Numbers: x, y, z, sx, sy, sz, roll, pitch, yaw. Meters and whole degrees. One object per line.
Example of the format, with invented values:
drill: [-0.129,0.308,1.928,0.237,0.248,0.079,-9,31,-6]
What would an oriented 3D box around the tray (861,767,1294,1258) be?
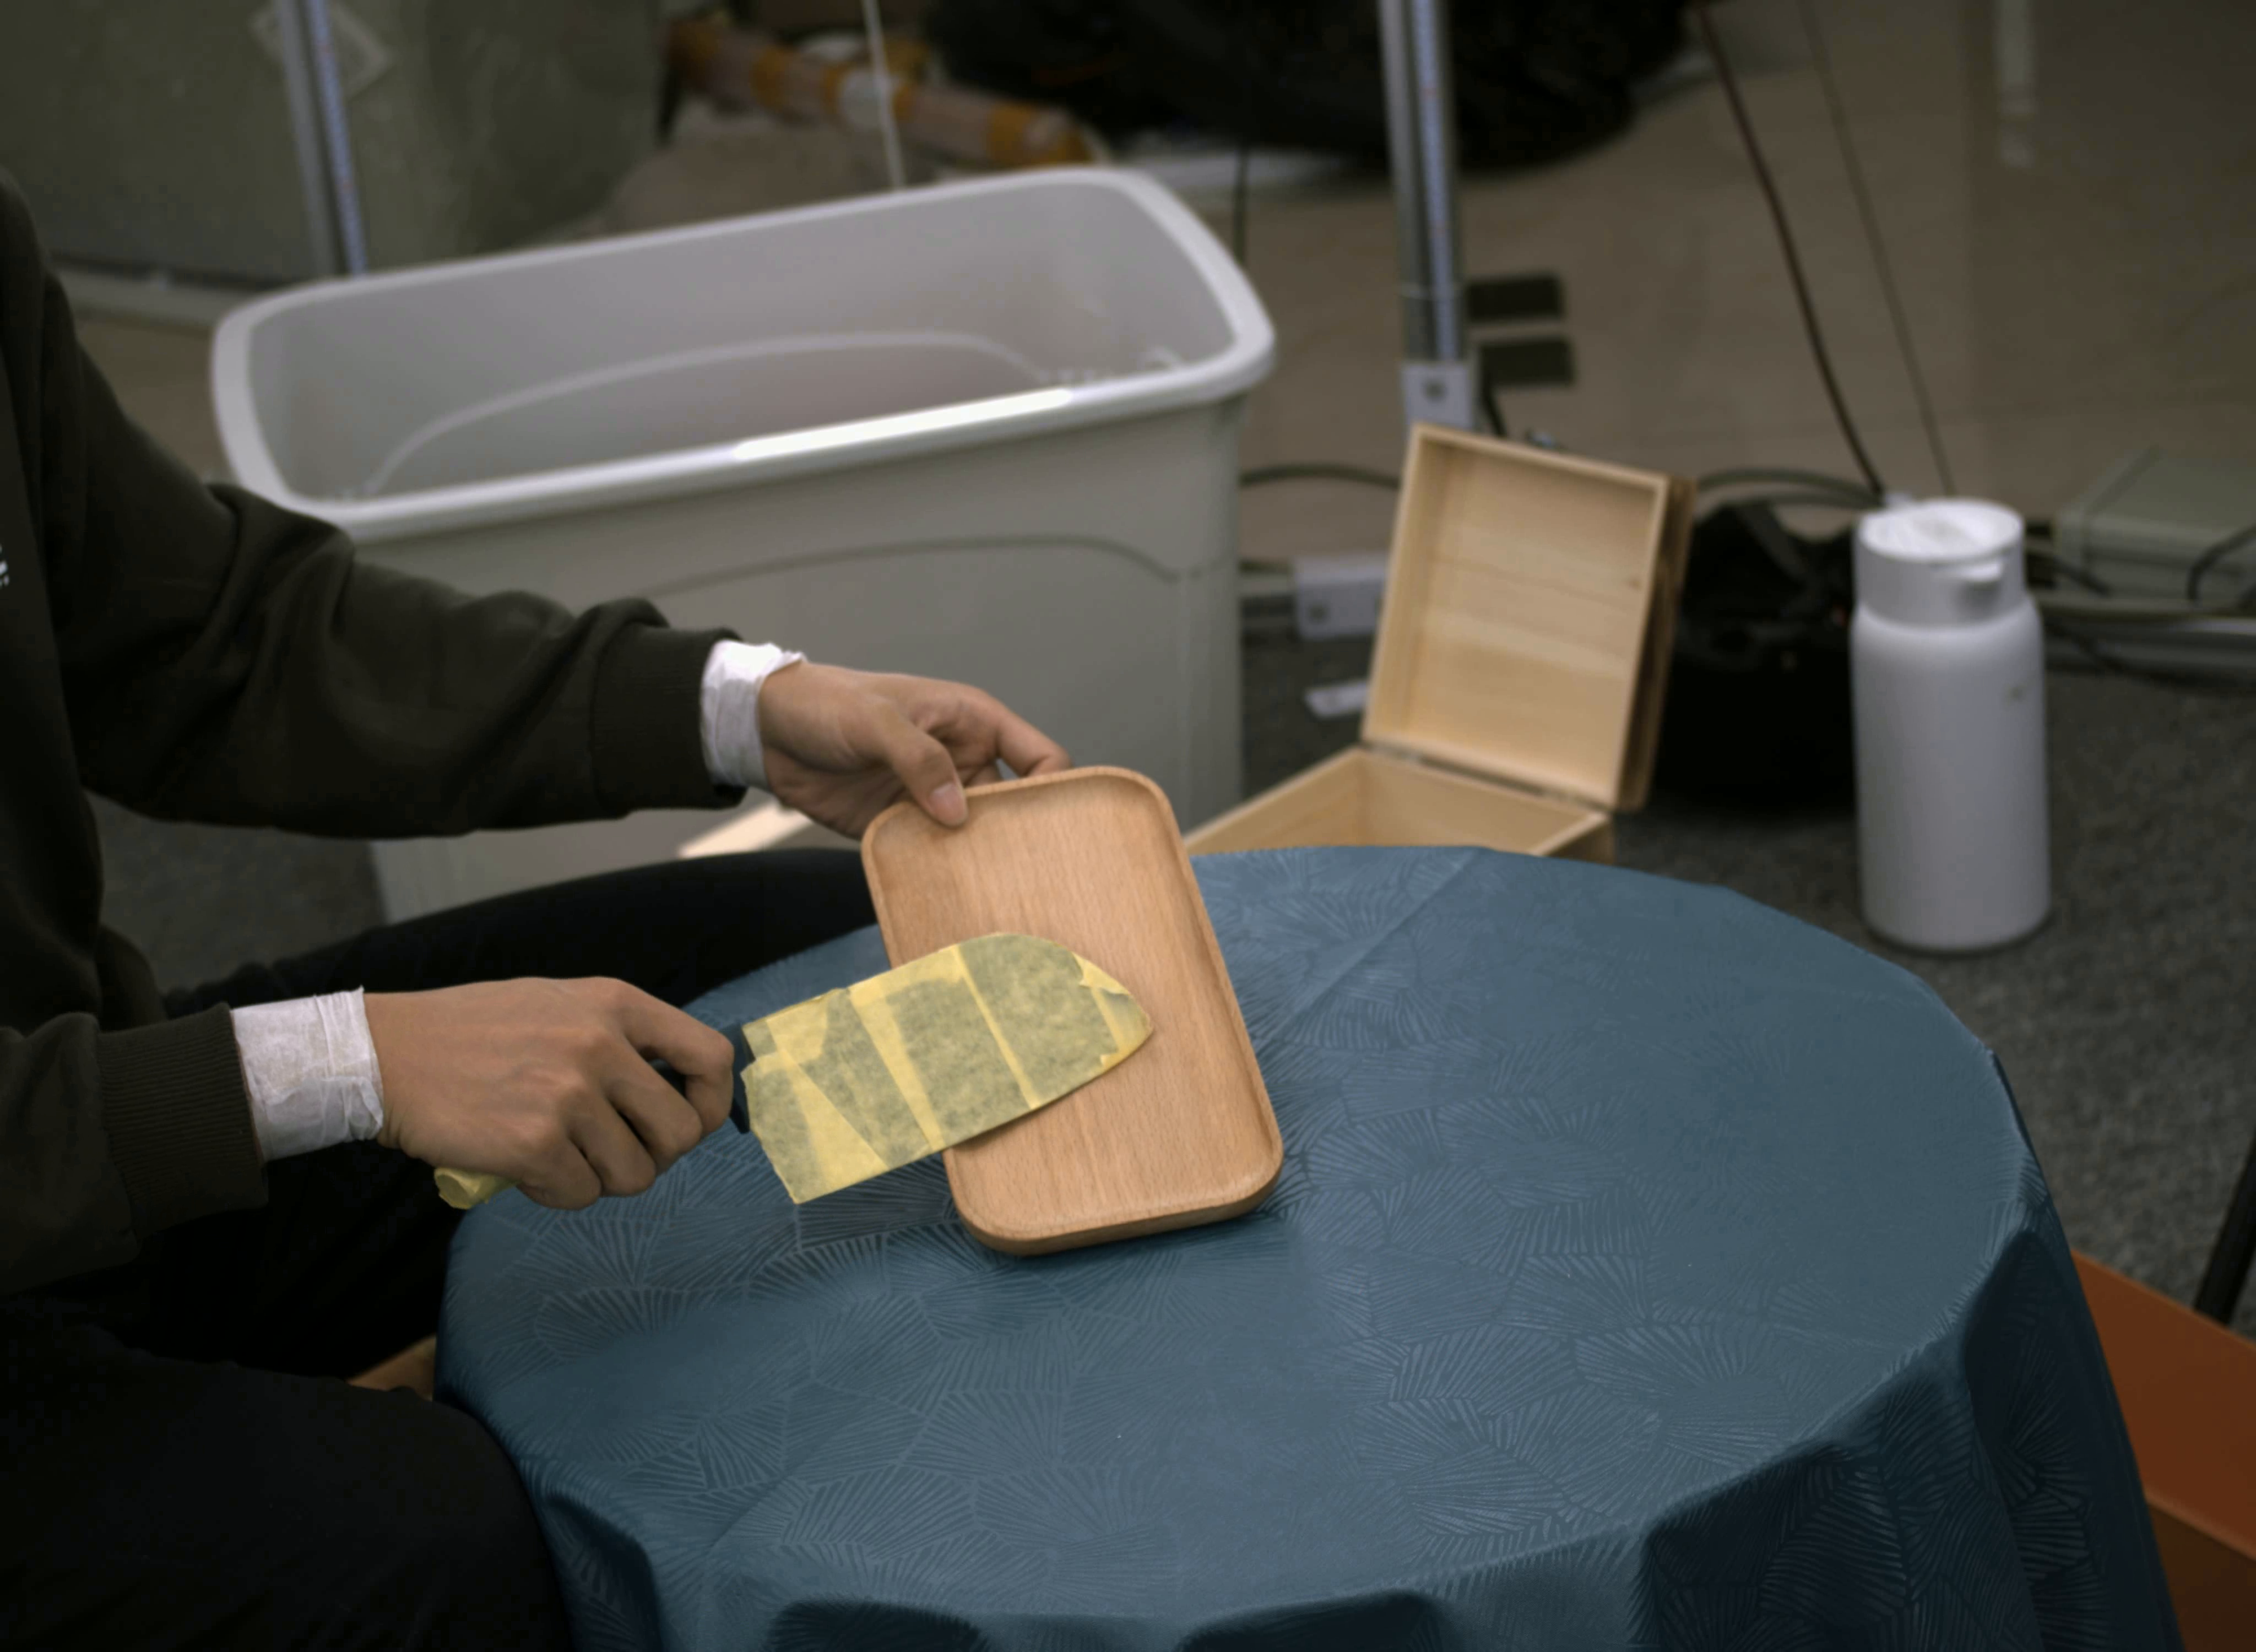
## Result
tray: [-0.022,0.070,2.197,0.130,0.023,0.246,-12,46,-6]

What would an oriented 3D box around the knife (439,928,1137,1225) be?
knife: [-0.121,0.103,2.126,0.288,0.027,0.080,-18,73,-25]
